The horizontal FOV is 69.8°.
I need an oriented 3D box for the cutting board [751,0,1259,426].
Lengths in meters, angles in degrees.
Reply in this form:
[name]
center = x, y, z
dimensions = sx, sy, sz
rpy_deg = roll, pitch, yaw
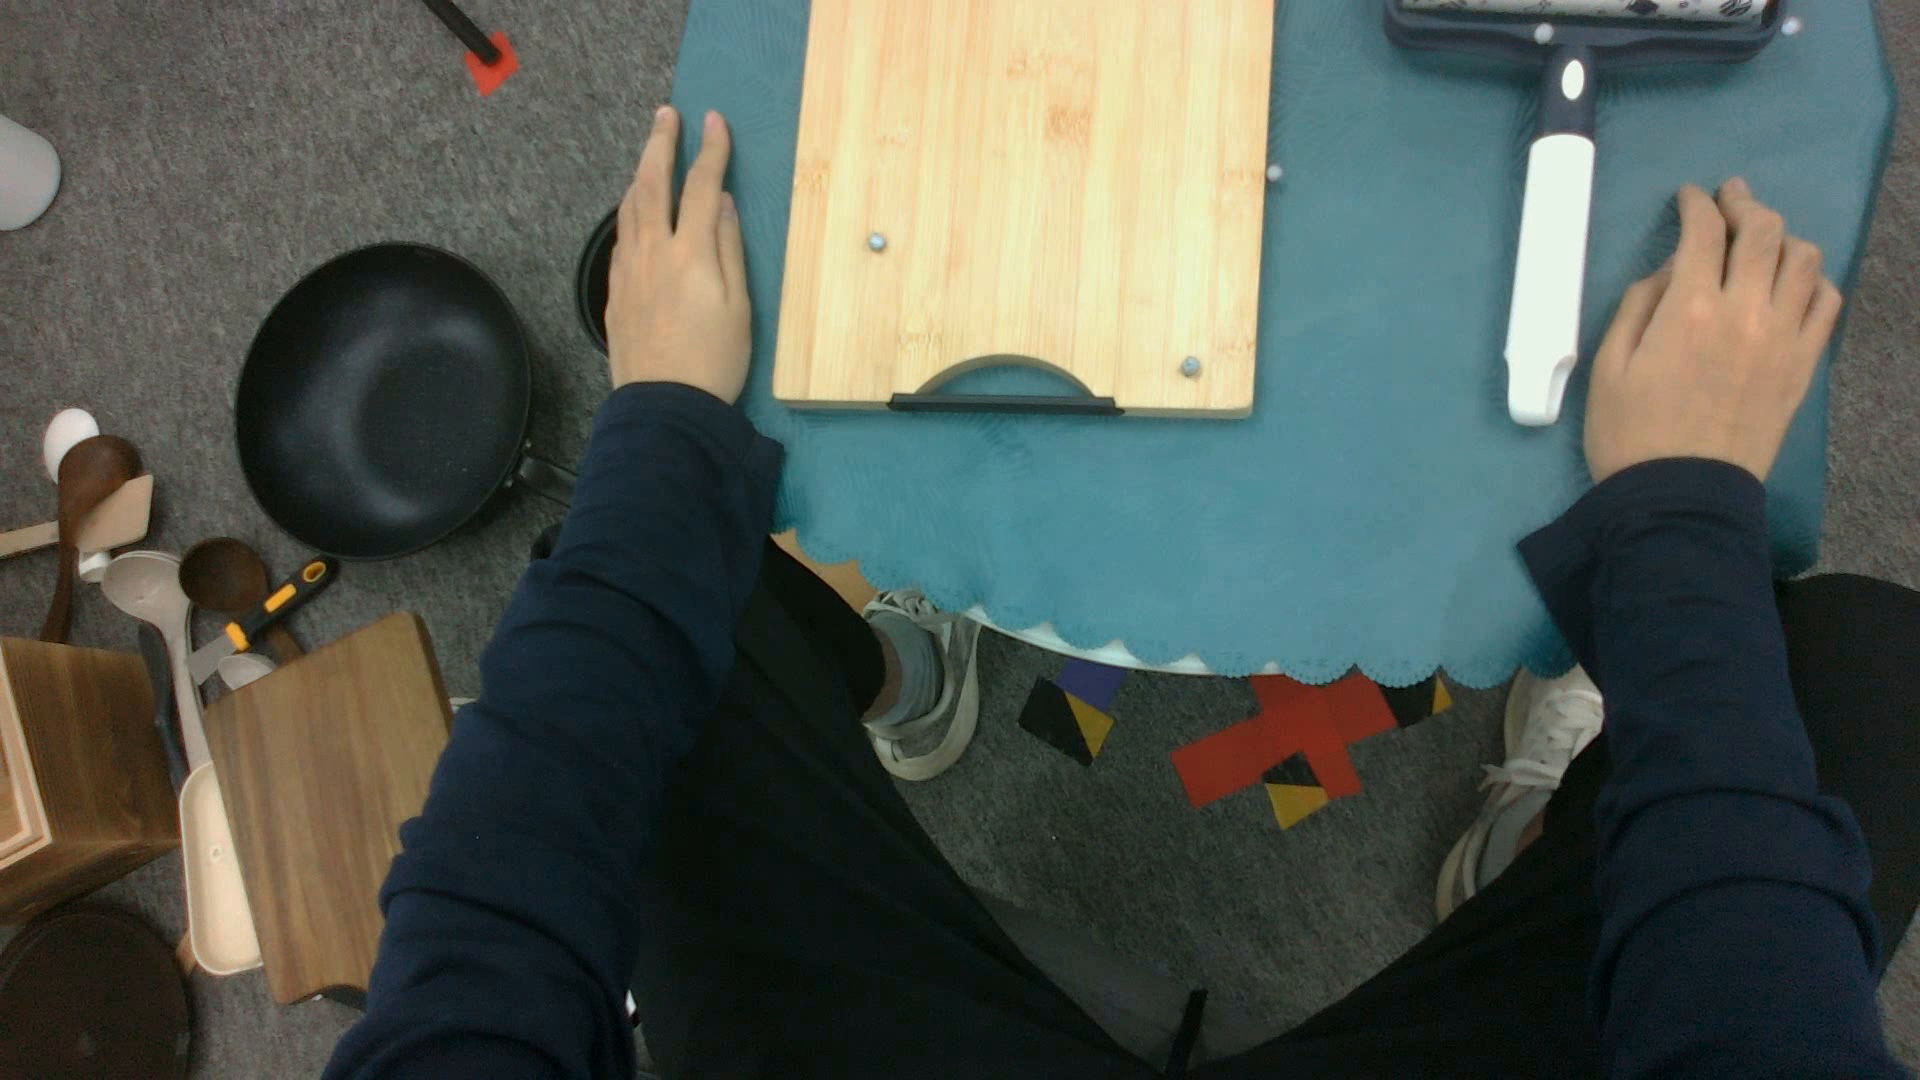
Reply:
[cutting board]
center = 0.028, -0.231, 0.710
dimensions = 0.250, 0.023, 0.349
rpy_deg = 2, 79, 11

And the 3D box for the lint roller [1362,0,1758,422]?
[lint roller]
center = 0.271, -0.178, 0.641
dimensions = 0.176, 0.050, 0.247
rpy_deg = 6, 82, 11
